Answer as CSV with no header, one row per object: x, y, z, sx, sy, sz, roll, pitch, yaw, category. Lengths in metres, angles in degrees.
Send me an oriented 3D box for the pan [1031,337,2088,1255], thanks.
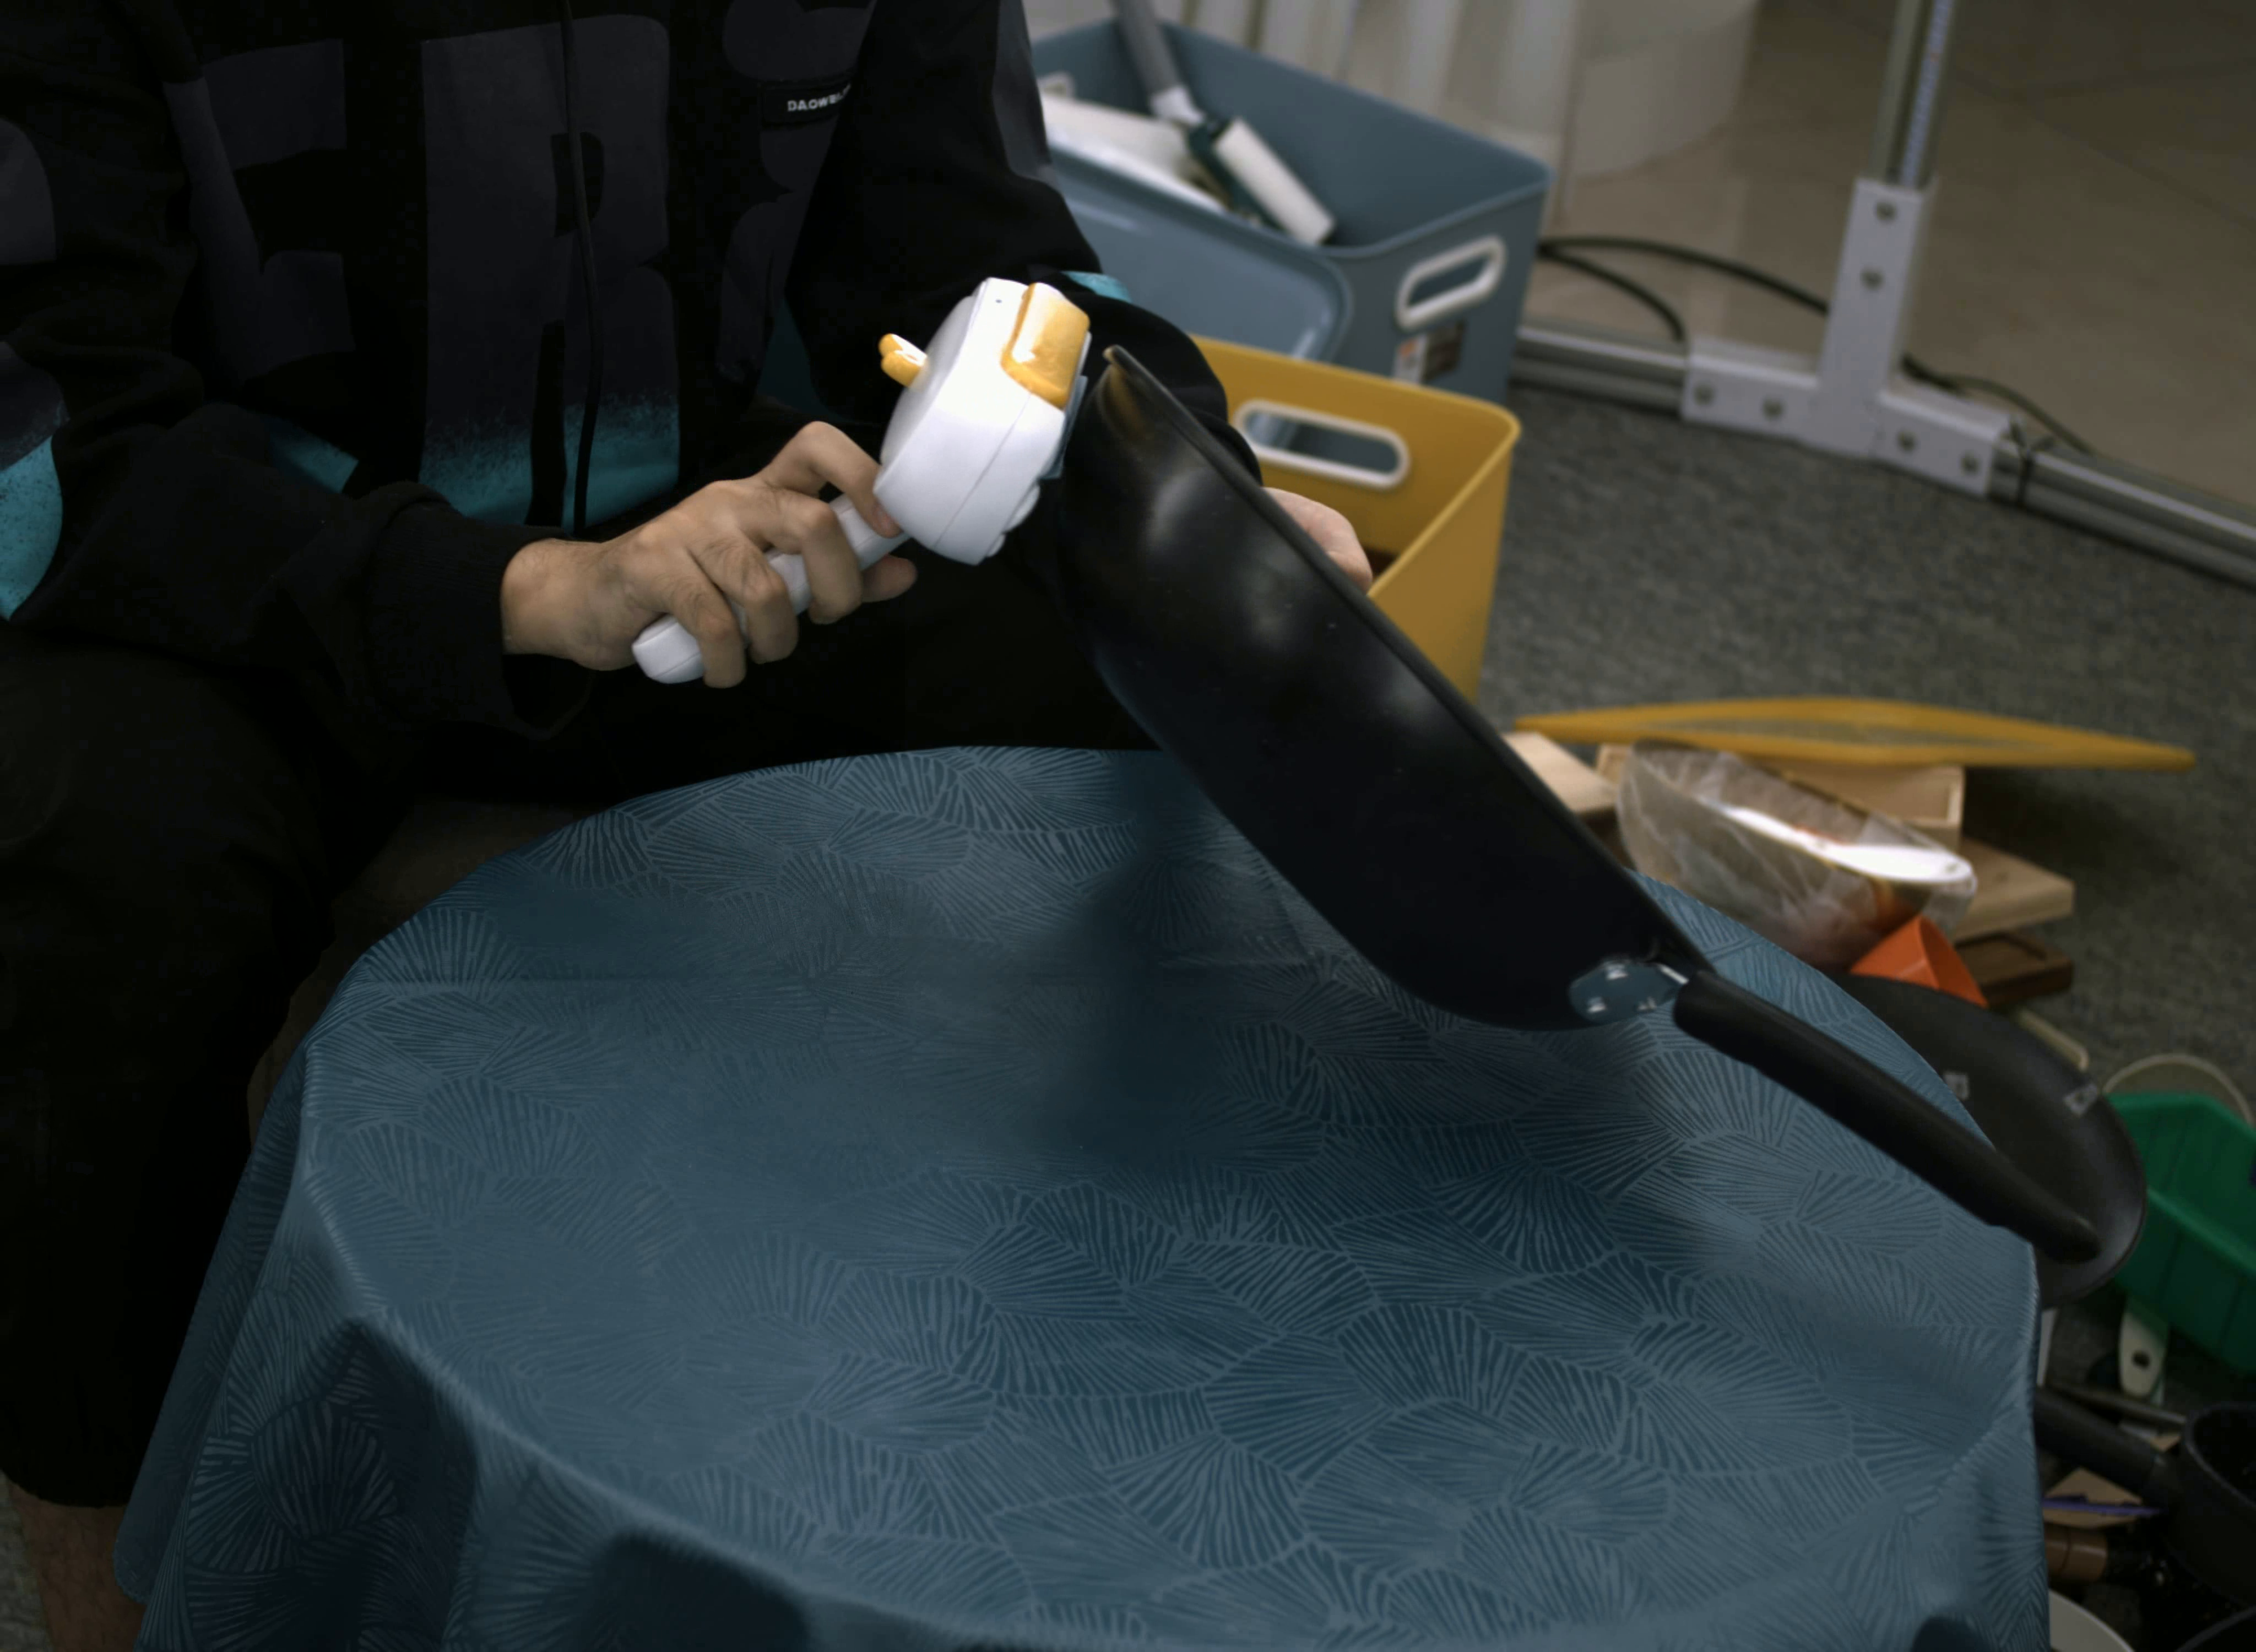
0.126,0.014,1.823,0.480,0.111,0.308,47,4,27,pan

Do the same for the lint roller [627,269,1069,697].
-0.095,-0.109,1.880,0.074,0.192,0.194,40,11,-13,lint roller
